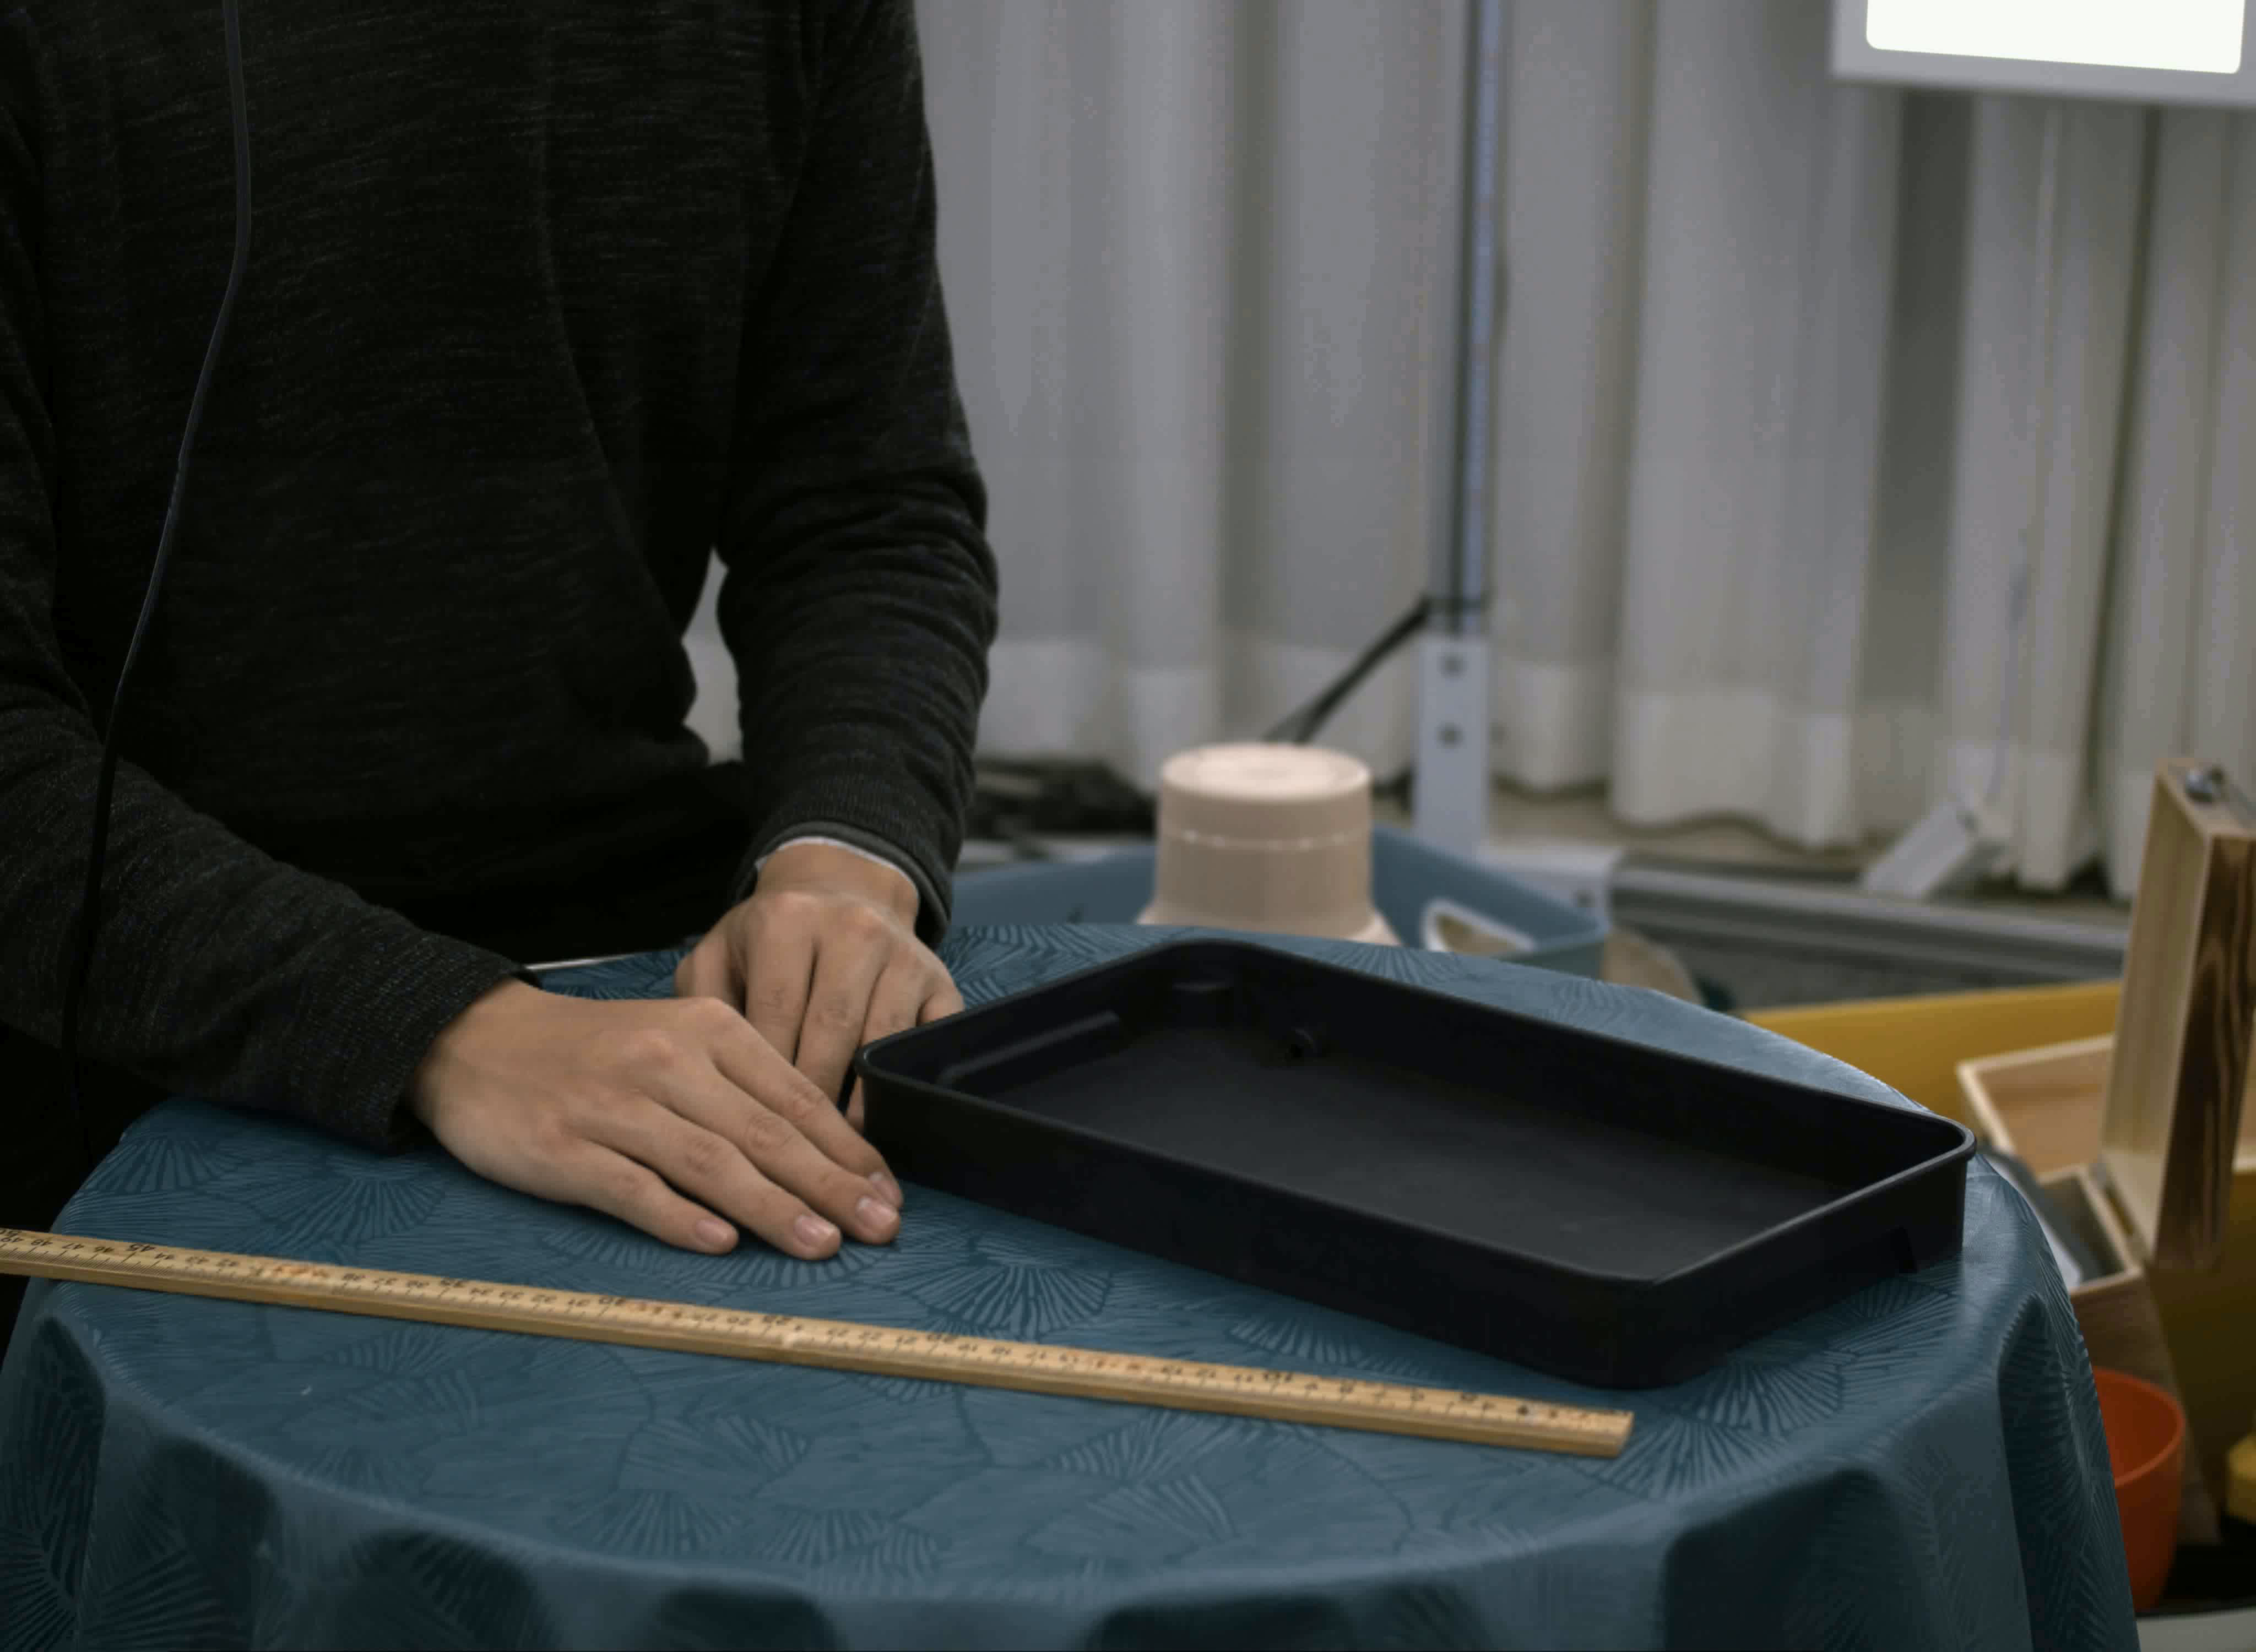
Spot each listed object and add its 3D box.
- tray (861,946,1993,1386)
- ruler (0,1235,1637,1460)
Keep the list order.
[{"bbox_3d":[0.088,0.098,1.607,0.314,0.037,0.185,12,19,38],"label":"tray"},{"bbox_3d":[-0.102,0.145,1.489,0.496,0.006,0.027,5,14,16],"label":"ruler"}]
